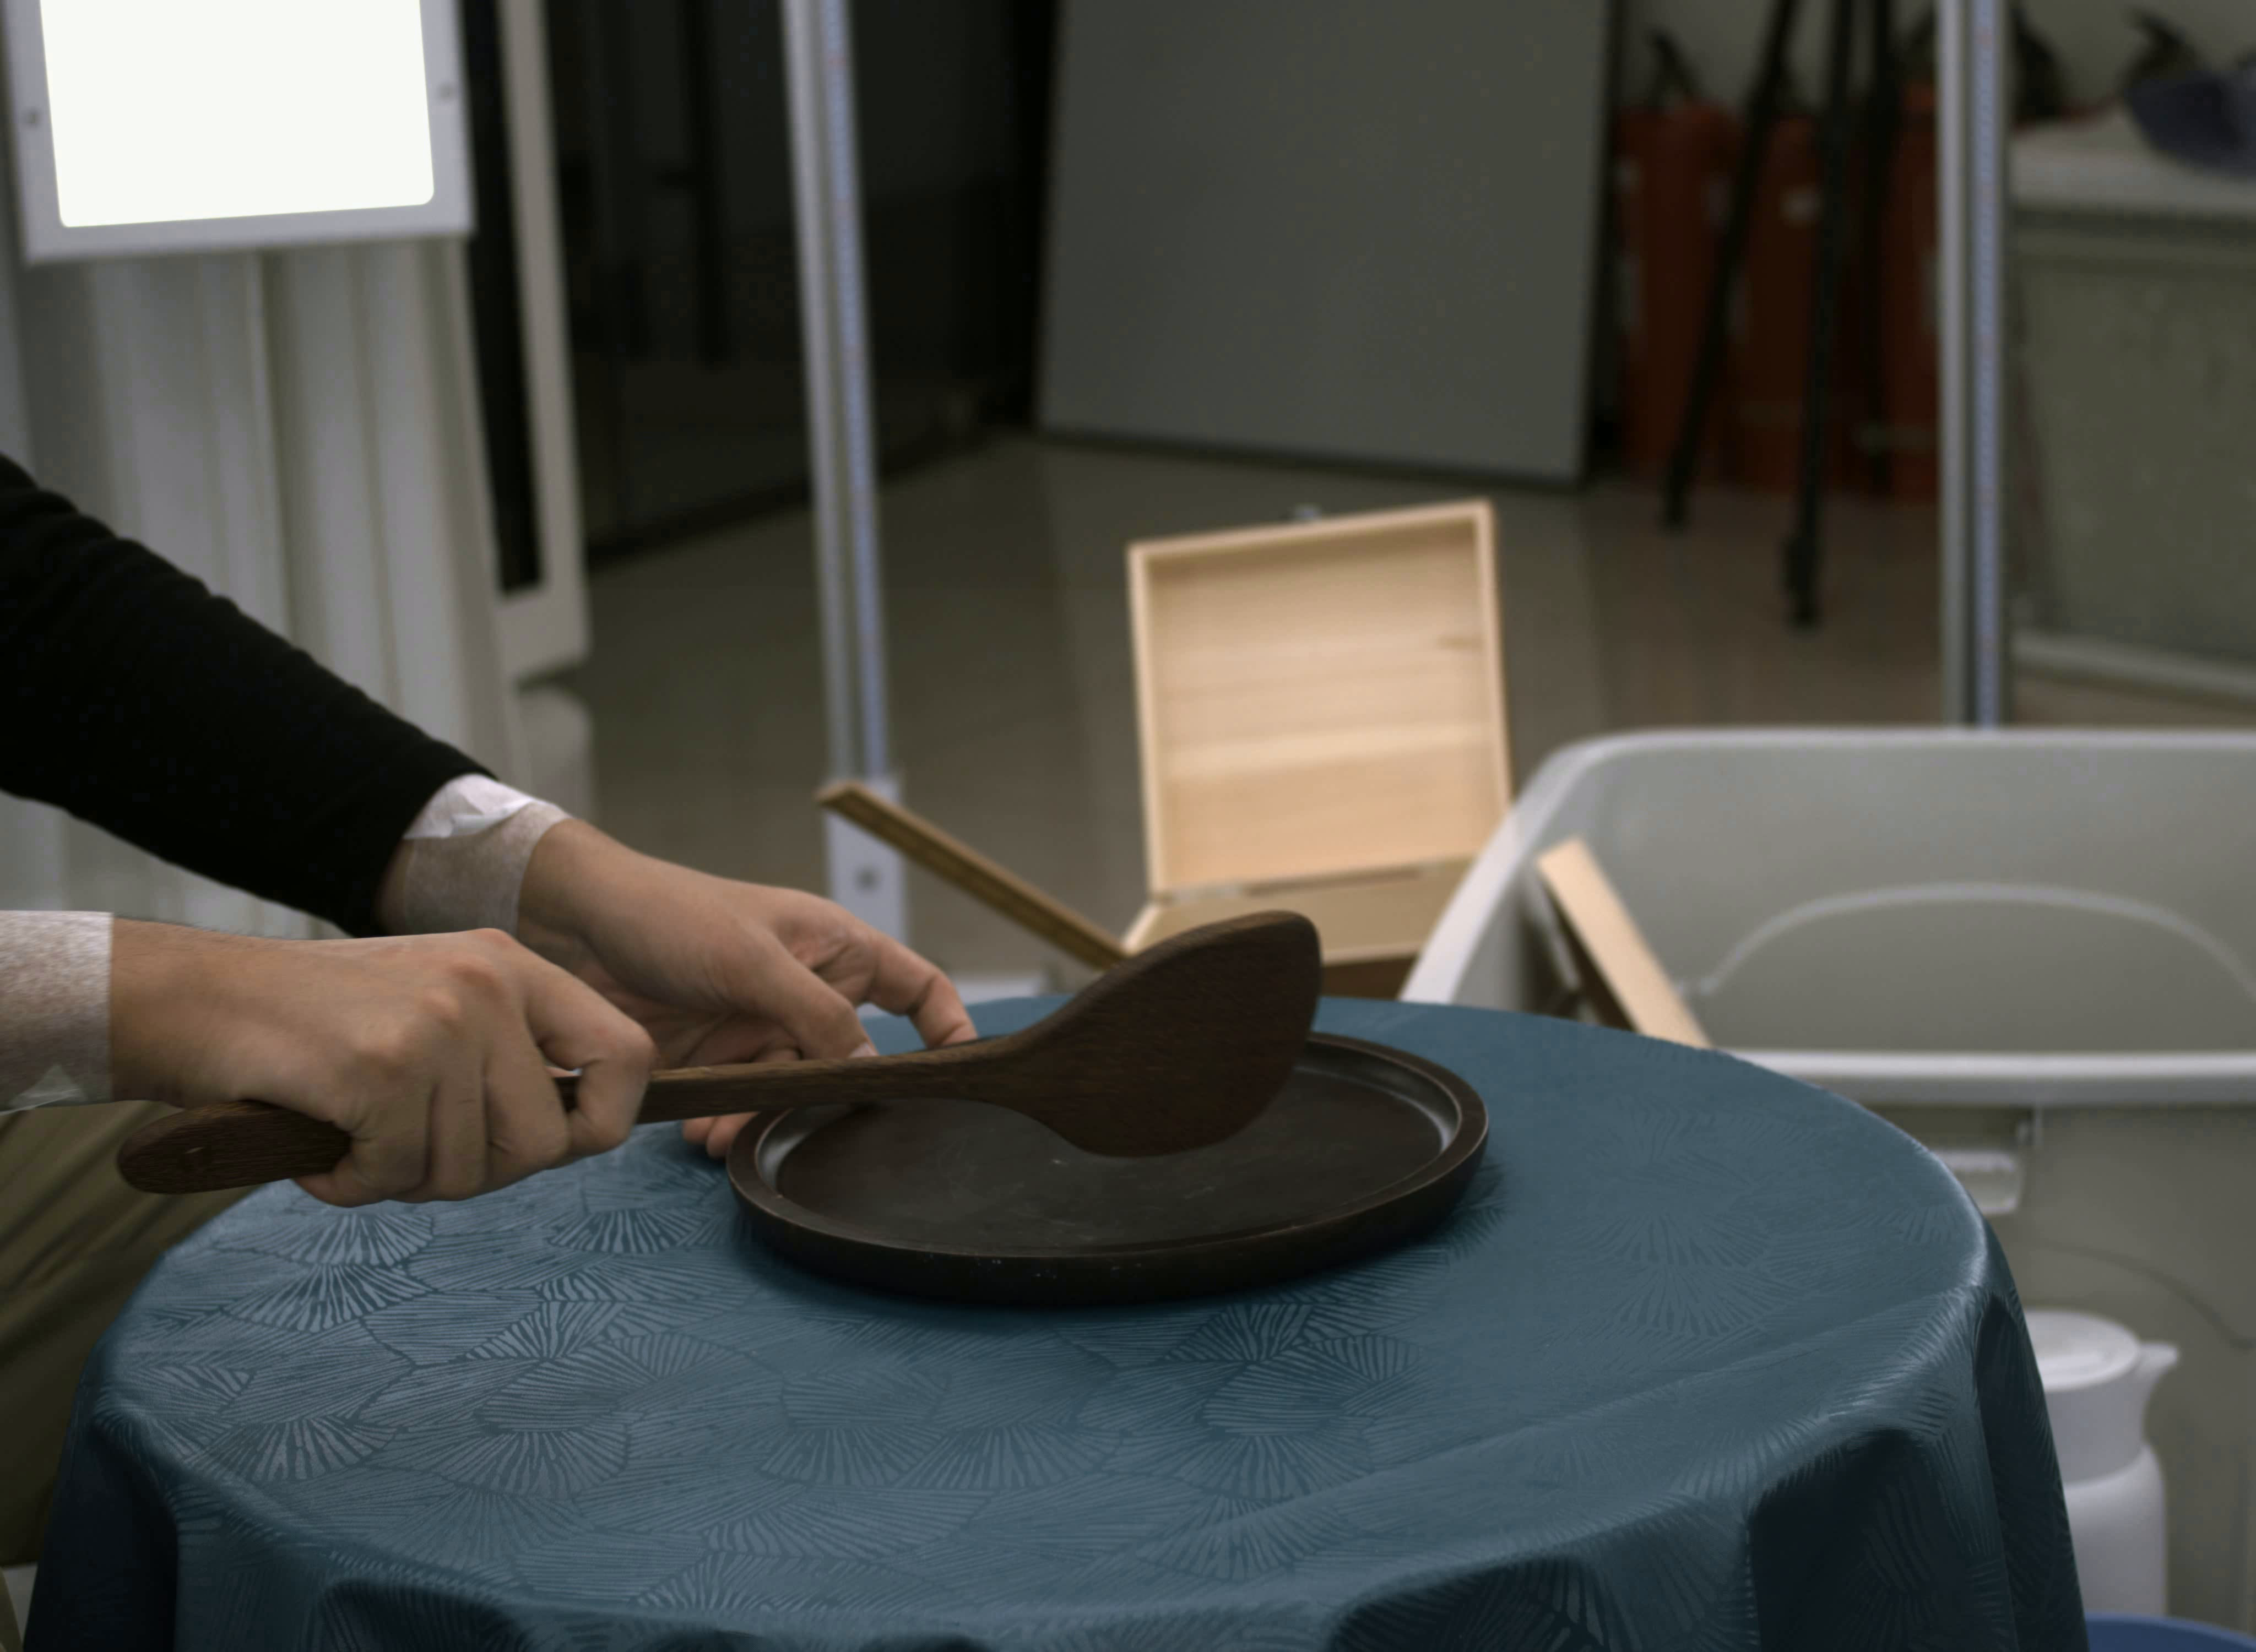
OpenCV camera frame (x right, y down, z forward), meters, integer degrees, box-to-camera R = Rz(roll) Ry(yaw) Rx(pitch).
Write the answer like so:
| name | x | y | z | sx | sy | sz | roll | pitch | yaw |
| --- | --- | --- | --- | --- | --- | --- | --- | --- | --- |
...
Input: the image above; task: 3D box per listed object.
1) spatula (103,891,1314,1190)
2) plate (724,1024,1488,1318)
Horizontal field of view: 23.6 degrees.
| name | x | y | z | sx | sy | sz | roll | pitch | yaw |
| --- | --- | --- | --- | --- | --- | --- | --- | --- | --- |
| spatula | -0.116 | 0.075 | 1.602 | 0.377 | 0.097 | 0.016 | -5 | 40 | -23 |
| plate | -0.007 | 0.111 | 1.766 | 0.251 | 0.029 | 0.255 | -4 | 15 | 0 |
